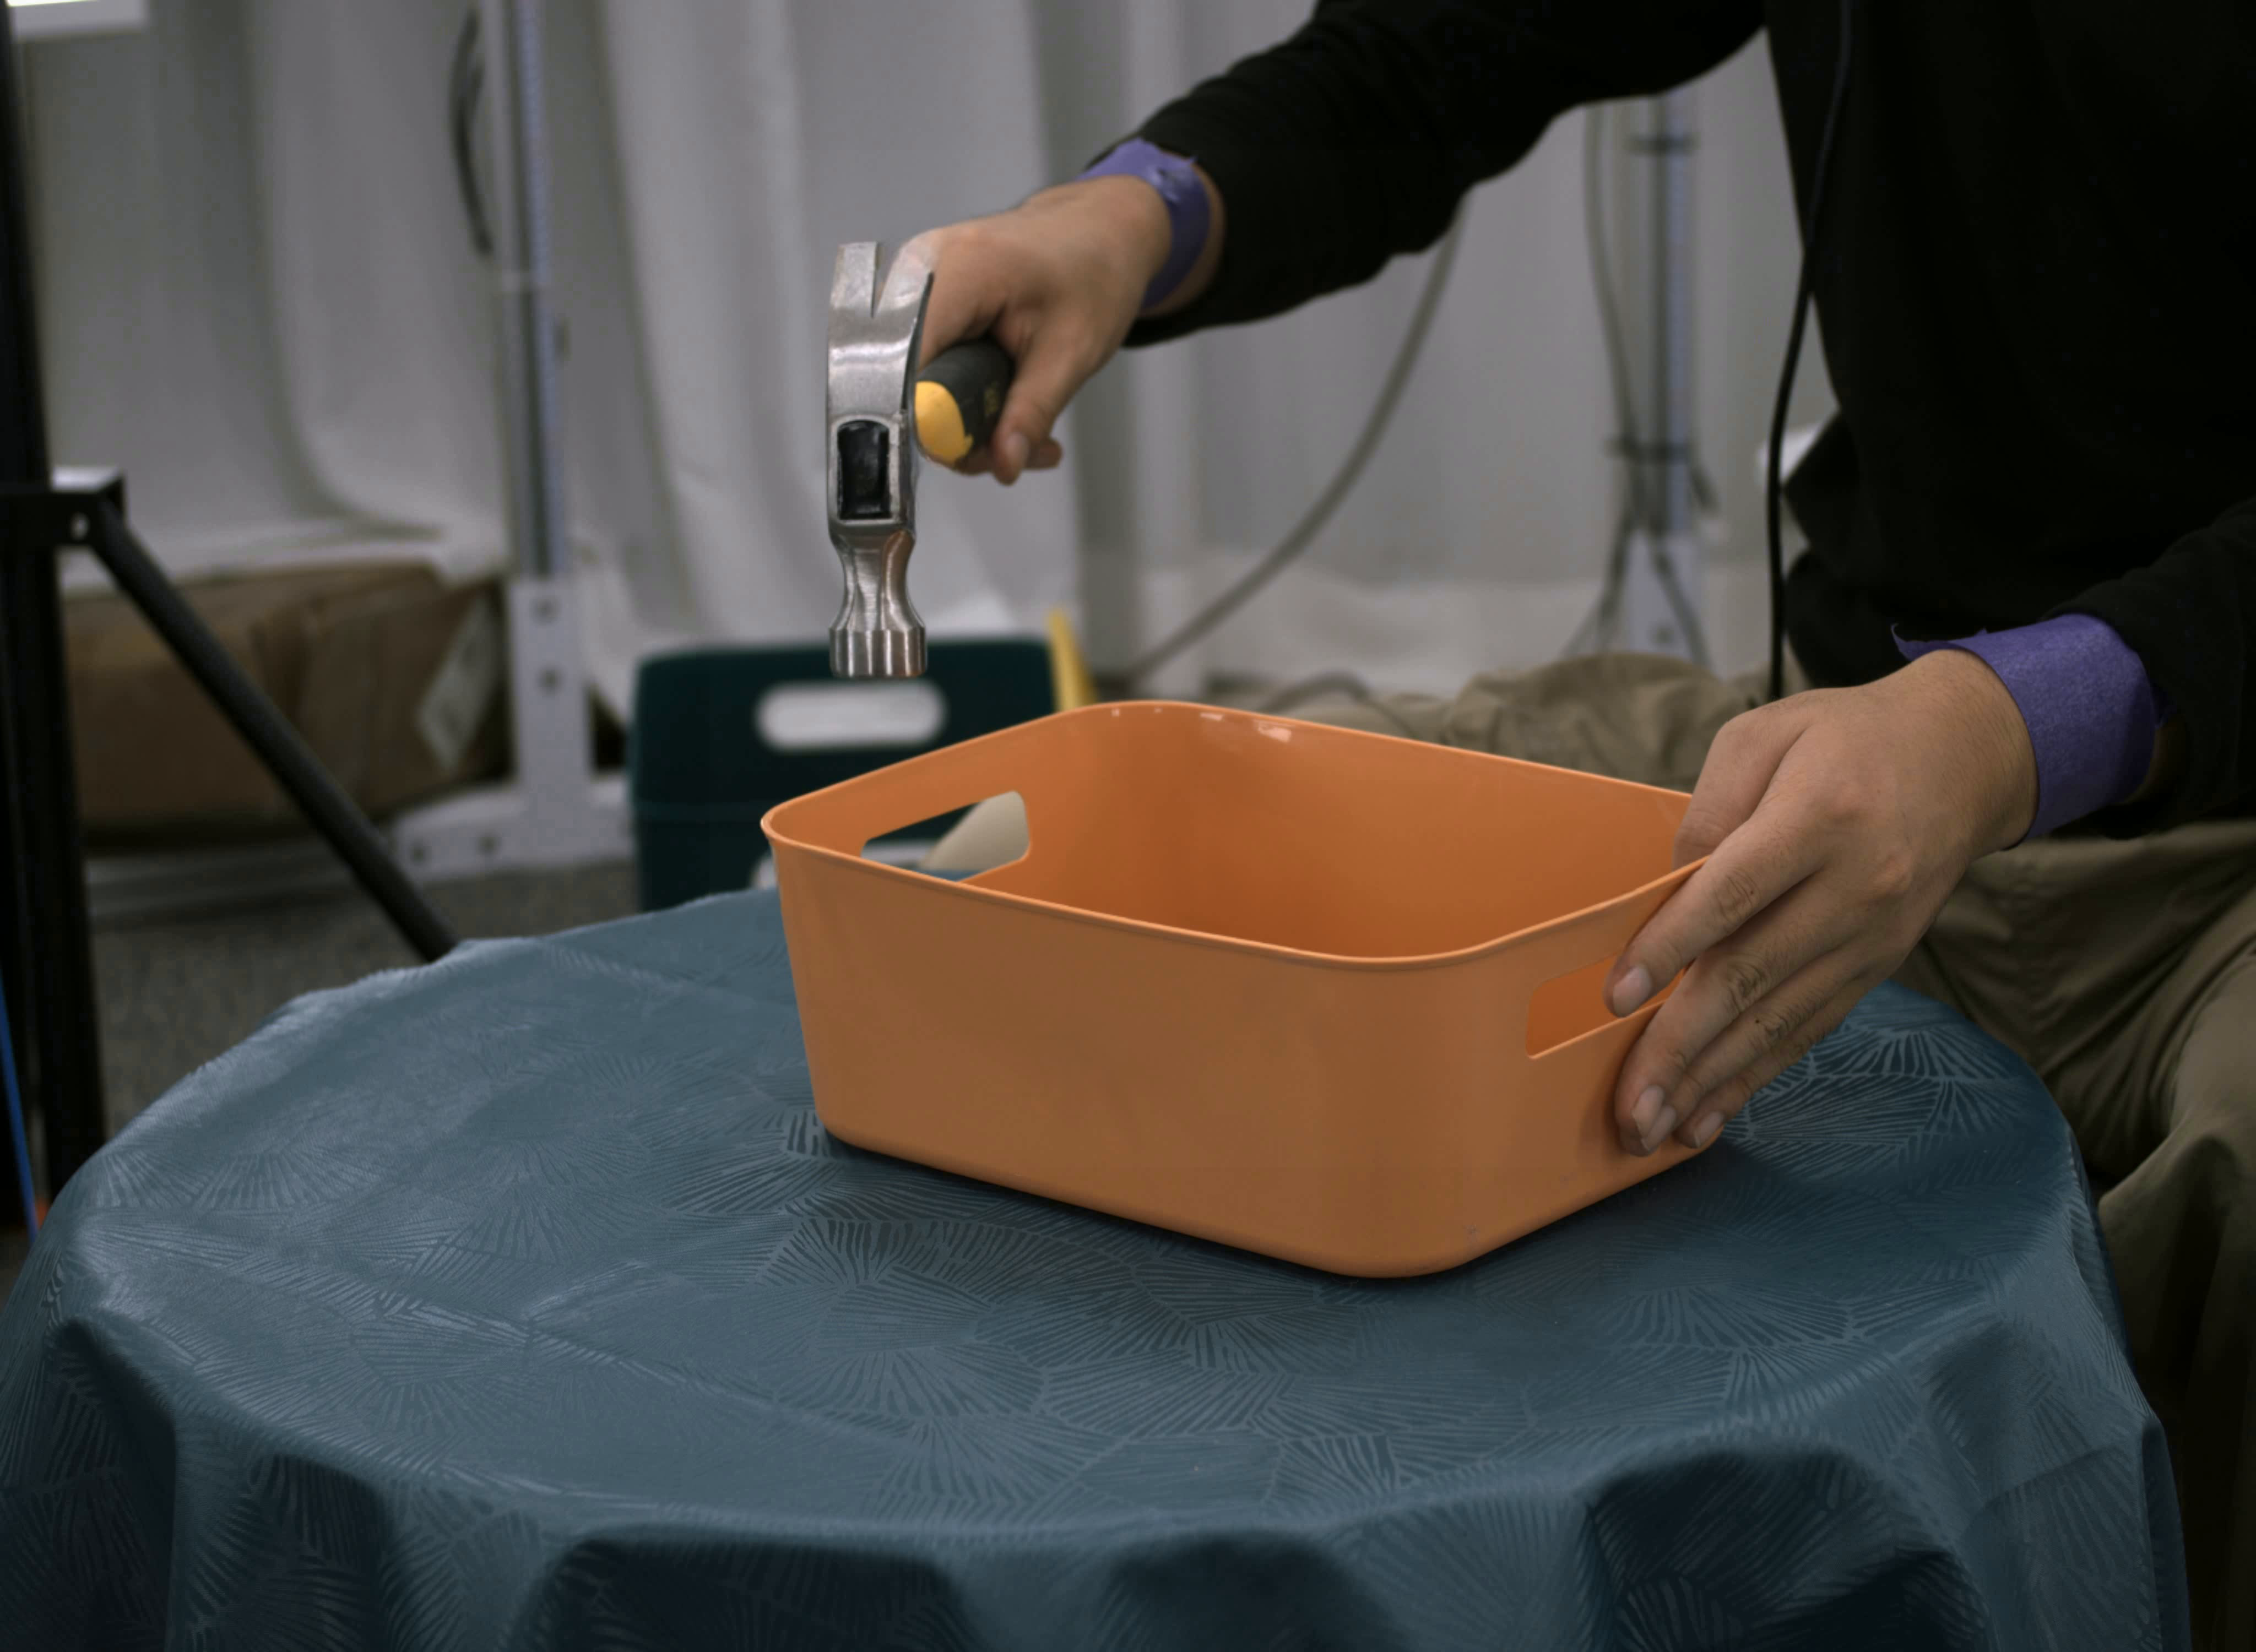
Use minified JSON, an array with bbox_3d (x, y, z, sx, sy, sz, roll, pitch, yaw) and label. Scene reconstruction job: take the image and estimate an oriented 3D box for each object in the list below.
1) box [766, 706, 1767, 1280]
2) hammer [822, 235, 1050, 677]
[{"bbox_3d":[0.040,0.046,1.580,0.279,0.102,0.195,12,20,40],"label":"box"},{"bbox_3d":[-0.060,-0.137,1.785,0.032,0.132,0.337,0,9,7],"label":"hammer"}]
